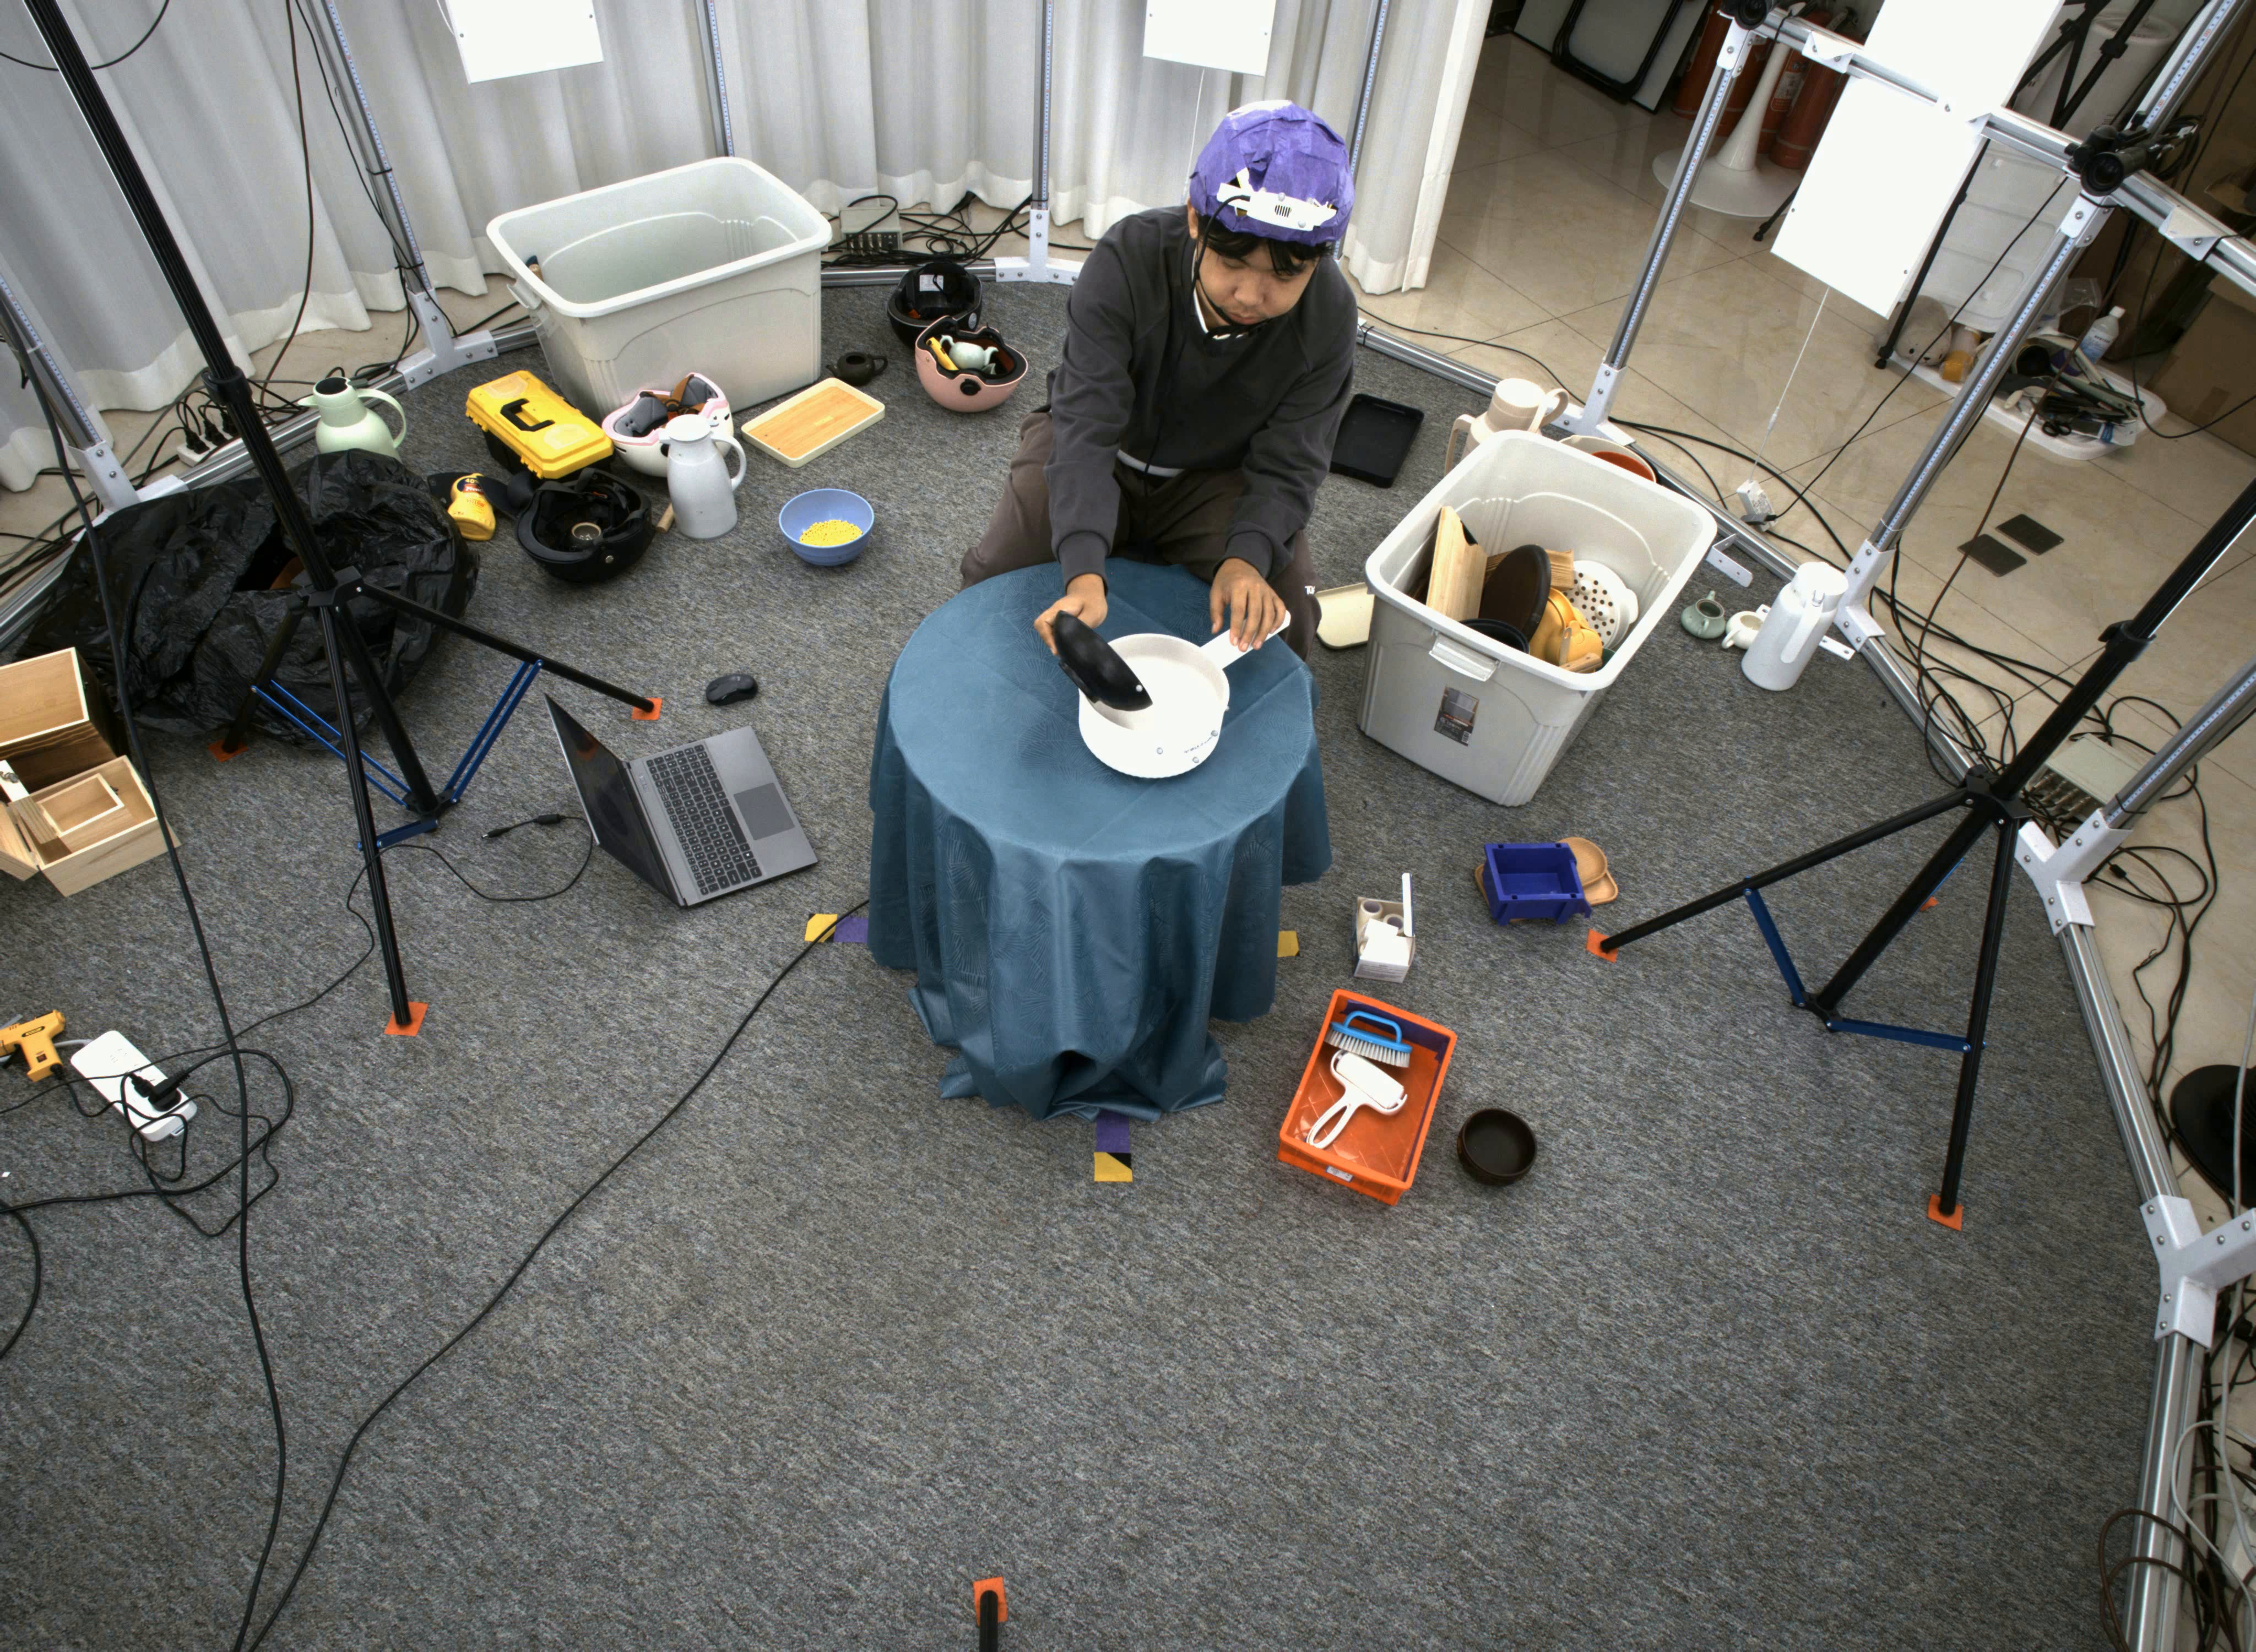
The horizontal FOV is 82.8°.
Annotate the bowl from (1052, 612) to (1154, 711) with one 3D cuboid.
[{"bbox_3d":[-0.043,-0.203,1.649,0.066,0.138,0.170,-44,93,3],"label":"bowl"}]

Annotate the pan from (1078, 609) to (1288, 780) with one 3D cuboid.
[{"bbox_3d":[0.087,-0.190,1.784,0.358,0.099,0.204,-33,55,-31],"label":"pan"}]
